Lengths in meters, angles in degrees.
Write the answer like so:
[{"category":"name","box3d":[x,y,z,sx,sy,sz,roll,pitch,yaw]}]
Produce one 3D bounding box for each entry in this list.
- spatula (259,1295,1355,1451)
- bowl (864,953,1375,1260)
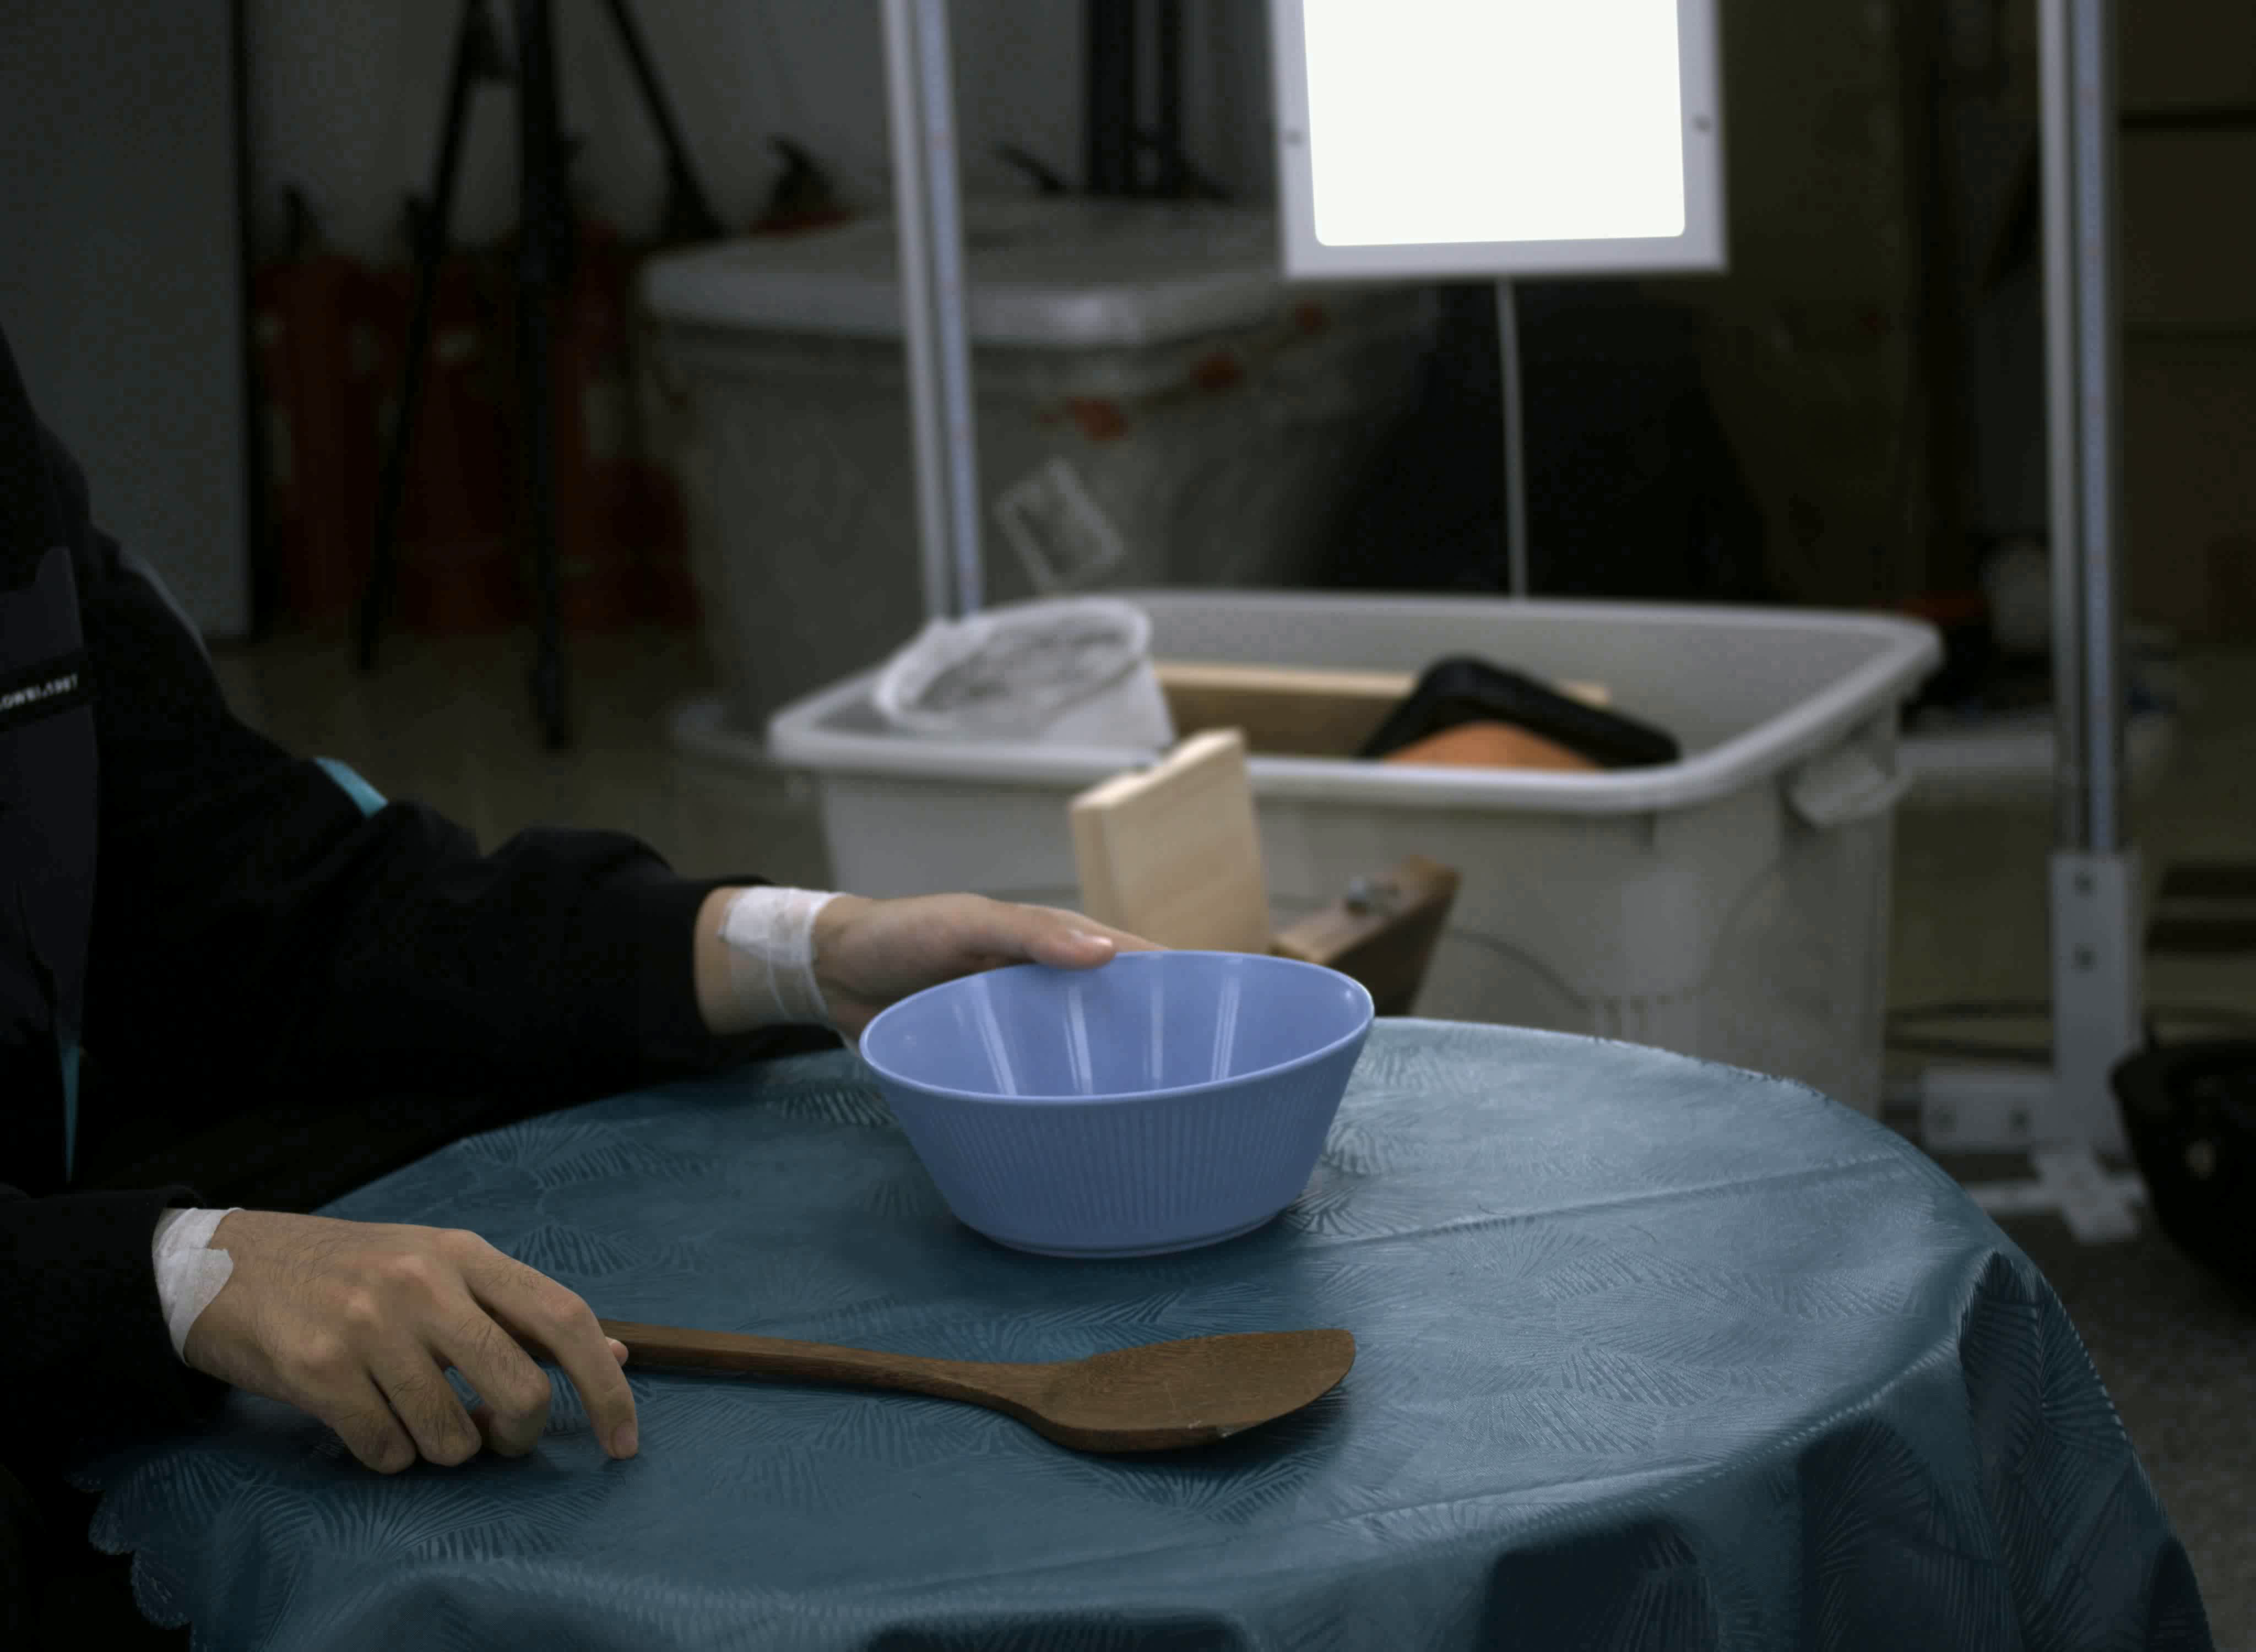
[{"category":"spatula","box3d":[-0.112,0.167,1.742,0.392,0.016,0.094,2,15,27]},{"category":"bowl","box3d":[0.000,0.098,1.870,0.175,0.070,0.176,-6,13,0]}]
